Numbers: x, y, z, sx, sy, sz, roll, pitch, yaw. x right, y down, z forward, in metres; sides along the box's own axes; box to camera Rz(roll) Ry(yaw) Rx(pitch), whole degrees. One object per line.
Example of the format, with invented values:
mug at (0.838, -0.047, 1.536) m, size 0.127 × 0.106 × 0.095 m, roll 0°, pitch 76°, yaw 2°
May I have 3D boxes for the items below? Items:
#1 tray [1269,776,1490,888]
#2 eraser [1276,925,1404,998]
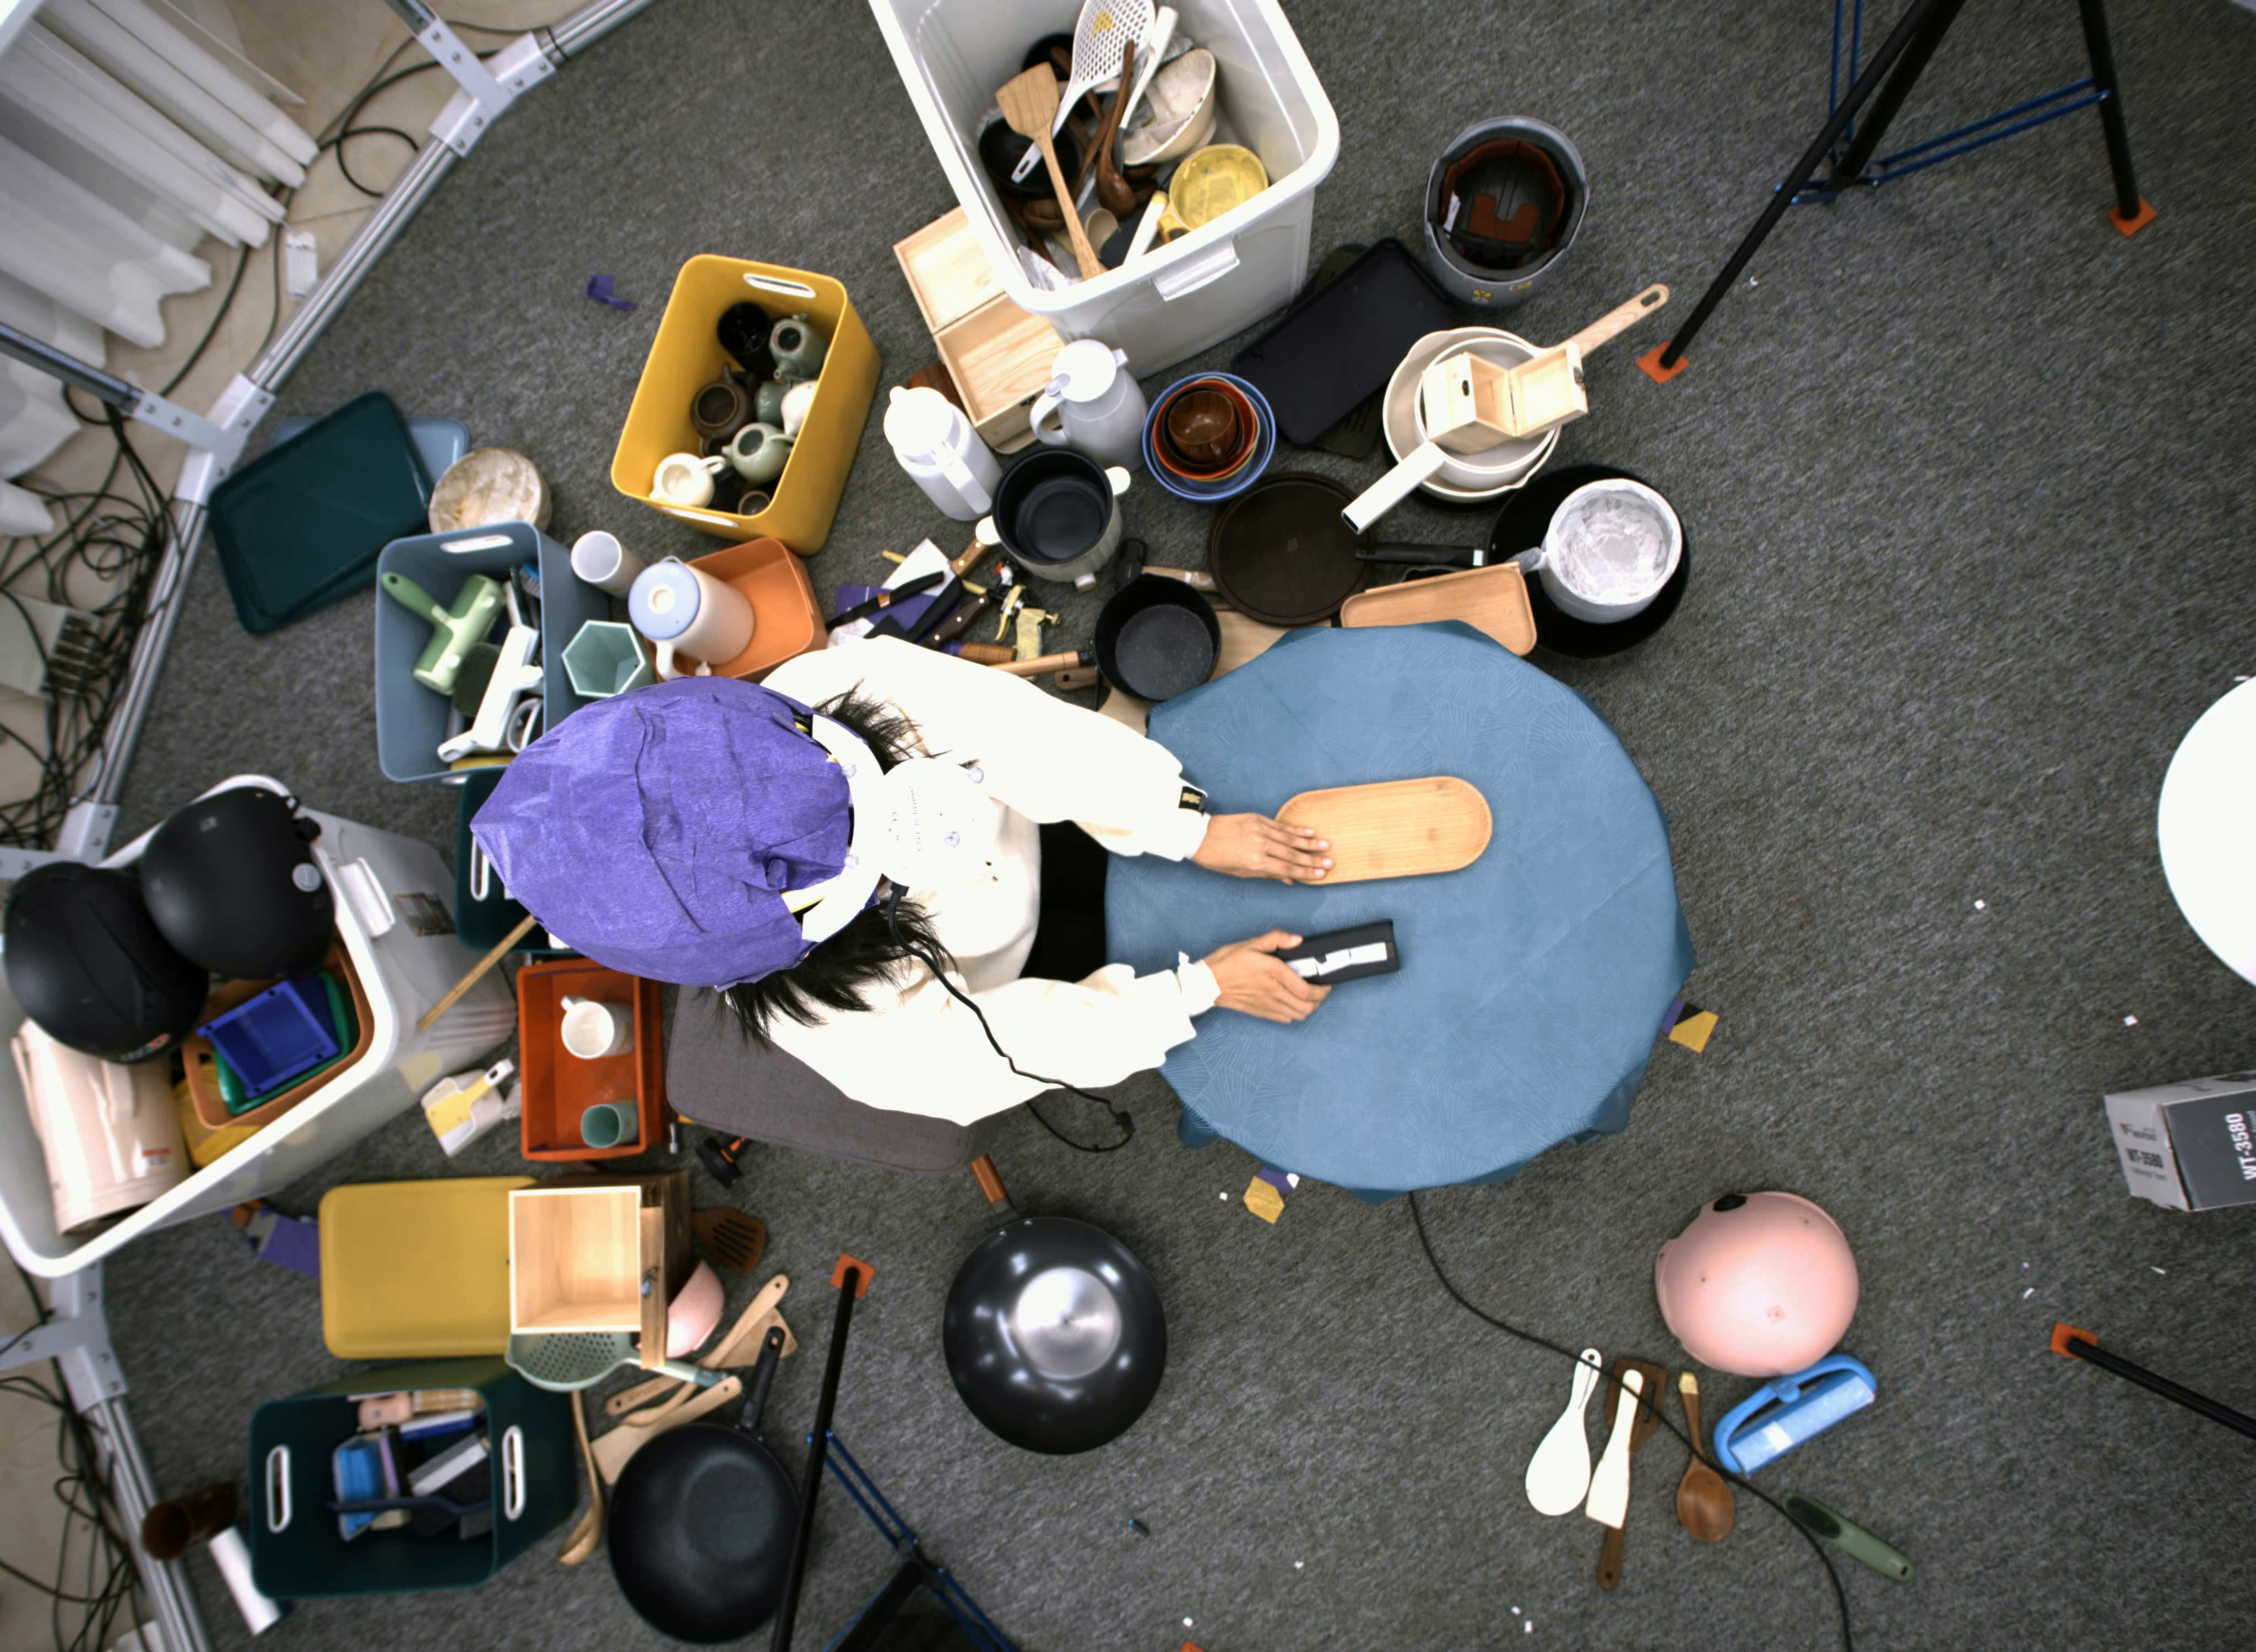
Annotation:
tray at (0.265, 0.006, 1.457) m, size 0.232 × 0.020 × 0.101 m, roll -9°, pitch 84°, yaw 12°
eraser at (0.220, 0.139, 1.443) m, size 0.126 × 0.030 × 0.053 m, roll -13°, pitch 91°, yaw 11°
